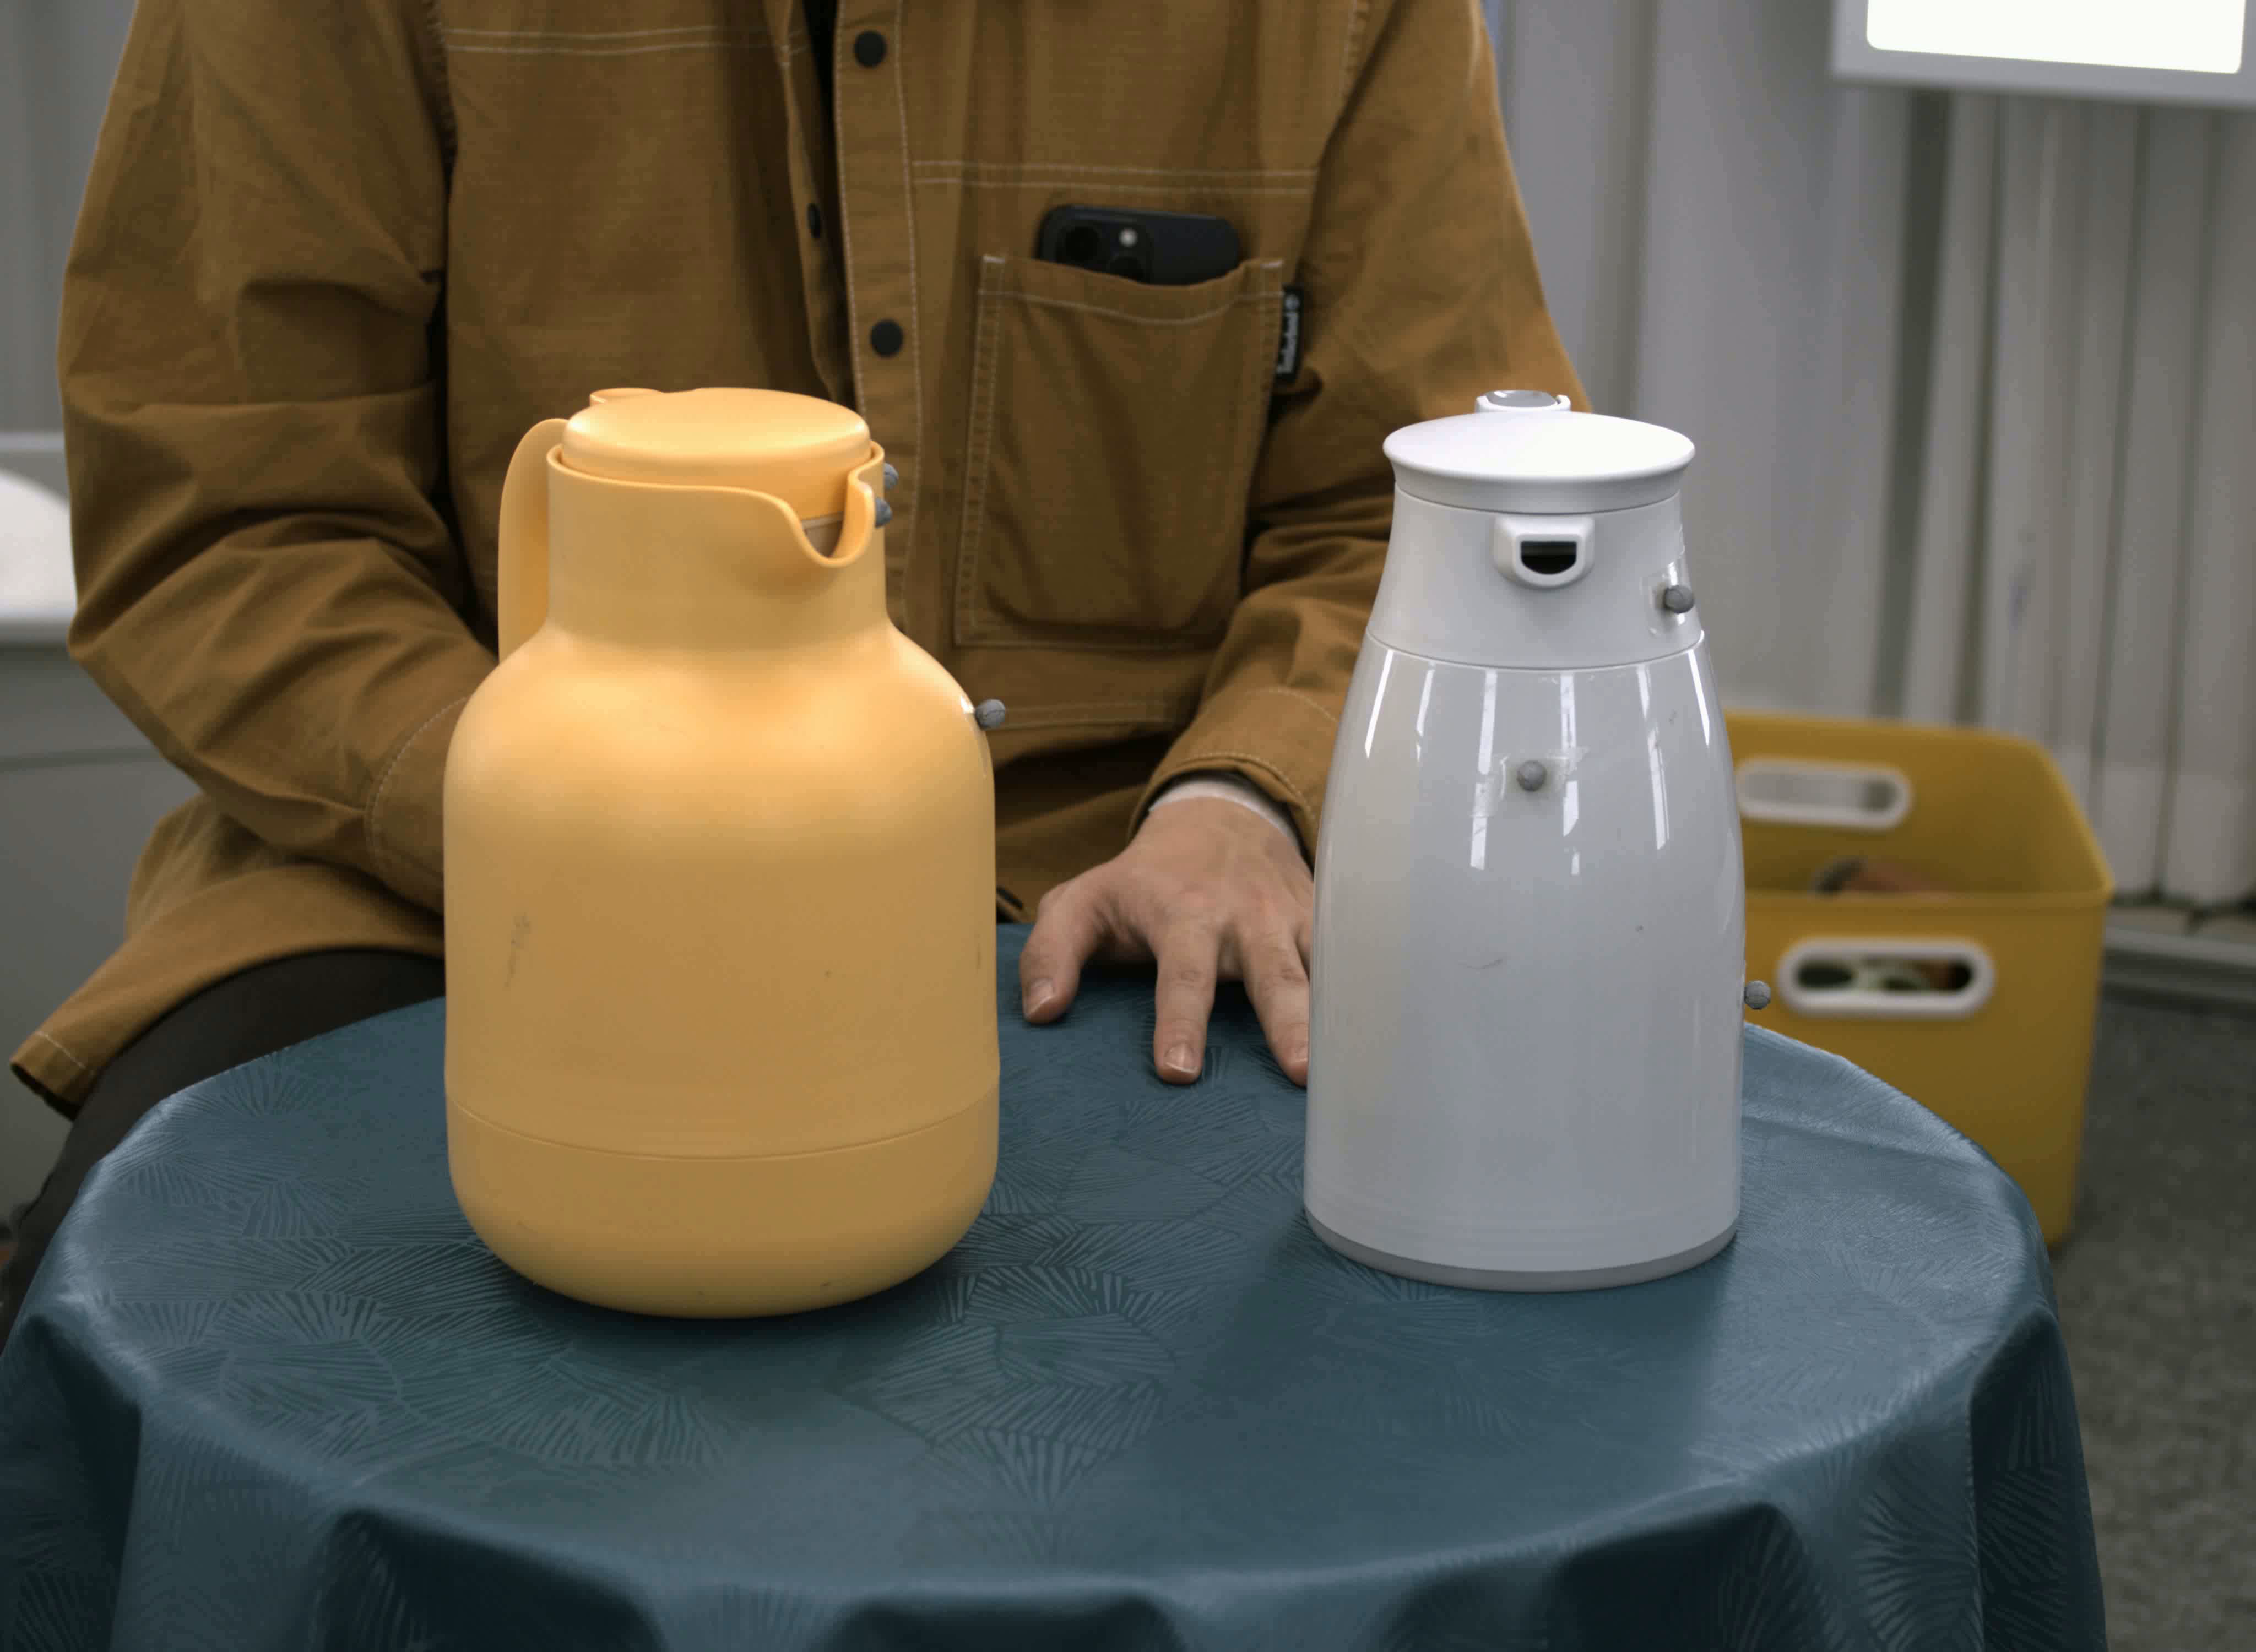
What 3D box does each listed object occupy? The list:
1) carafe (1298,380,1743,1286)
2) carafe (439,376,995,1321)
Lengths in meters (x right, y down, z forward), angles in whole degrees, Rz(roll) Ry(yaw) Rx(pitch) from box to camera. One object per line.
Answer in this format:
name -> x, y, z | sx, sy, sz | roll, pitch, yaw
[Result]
carafe -> 0.118, -0.007, 1.585 | 0.132, 0.250, 0.167 | 0, 16, 0
carafe -> -0.127, -0.002, 1.543 | 0.164, 0.262, 0.200 | -7, 18, -30
